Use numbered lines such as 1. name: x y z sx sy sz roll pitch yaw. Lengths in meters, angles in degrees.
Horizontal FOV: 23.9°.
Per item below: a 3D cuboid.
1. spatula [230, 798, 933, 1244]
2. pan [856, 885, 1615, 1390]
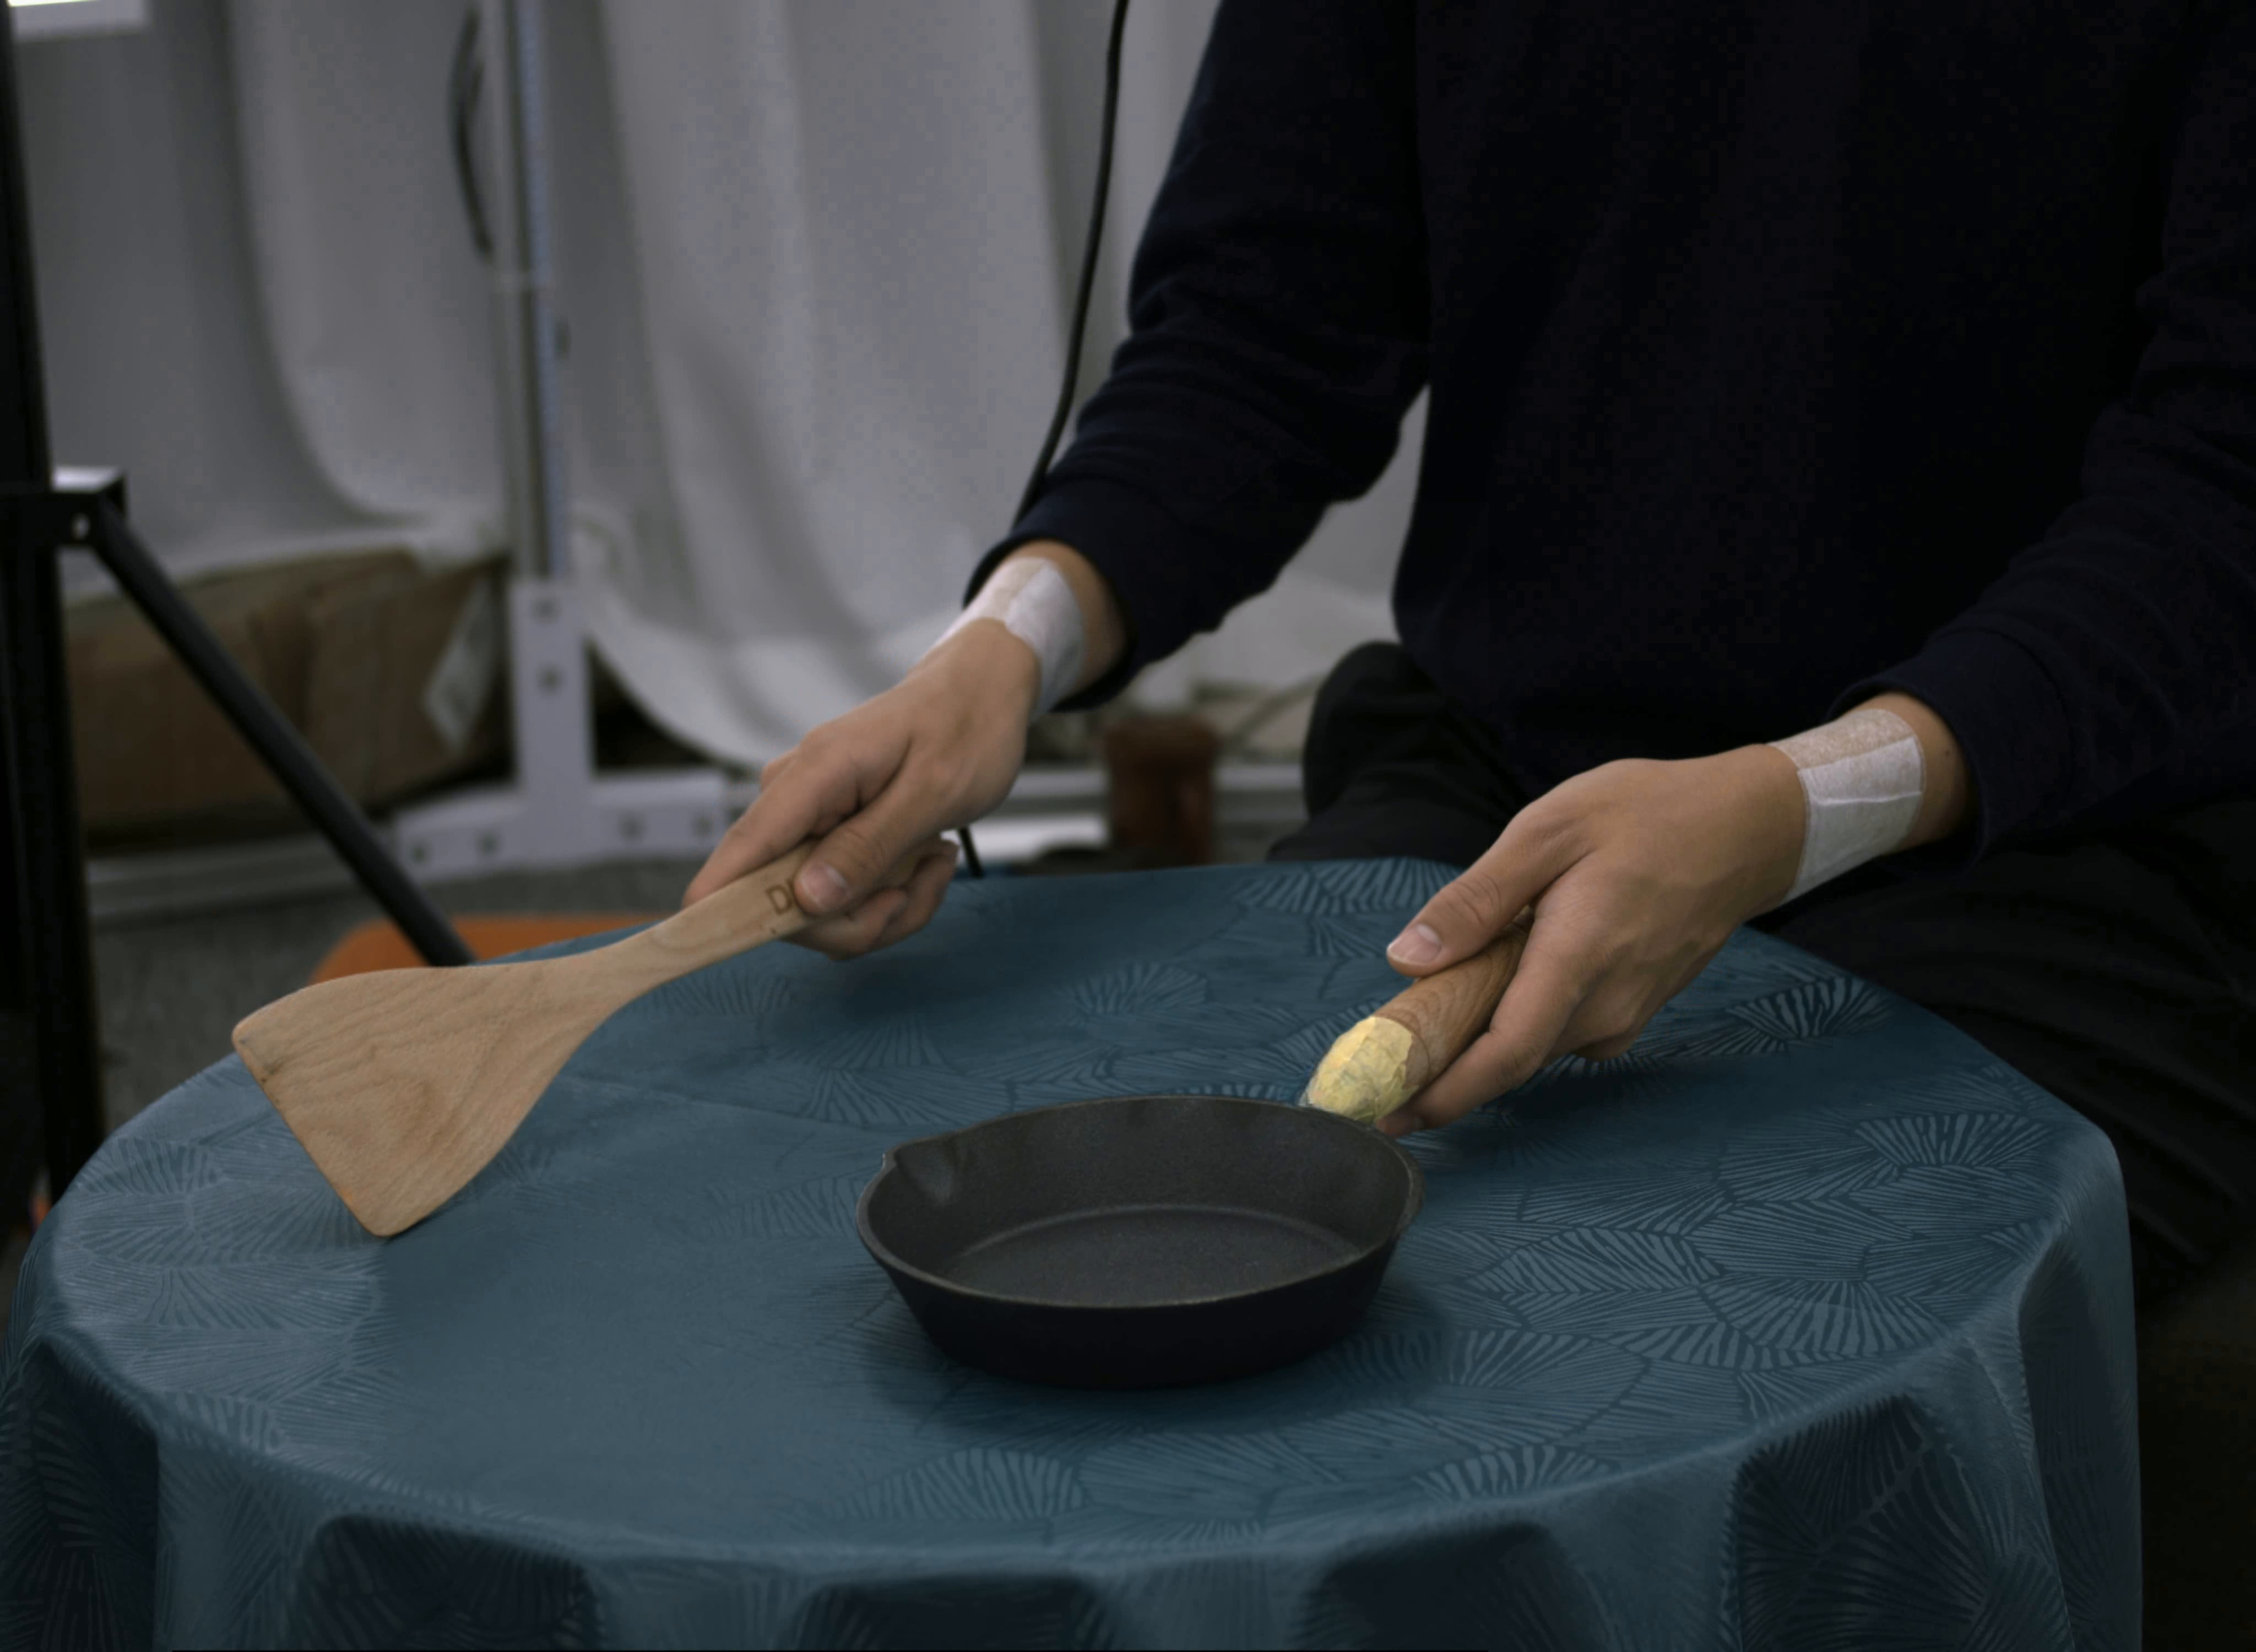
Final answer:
1. spatula: -0.156 0.046 1.663 0.017 0.080 0.321 -30 -2 40
2. pan: 0.054 0.085 1.520 0.172 0.049 0.318 10 23 37
